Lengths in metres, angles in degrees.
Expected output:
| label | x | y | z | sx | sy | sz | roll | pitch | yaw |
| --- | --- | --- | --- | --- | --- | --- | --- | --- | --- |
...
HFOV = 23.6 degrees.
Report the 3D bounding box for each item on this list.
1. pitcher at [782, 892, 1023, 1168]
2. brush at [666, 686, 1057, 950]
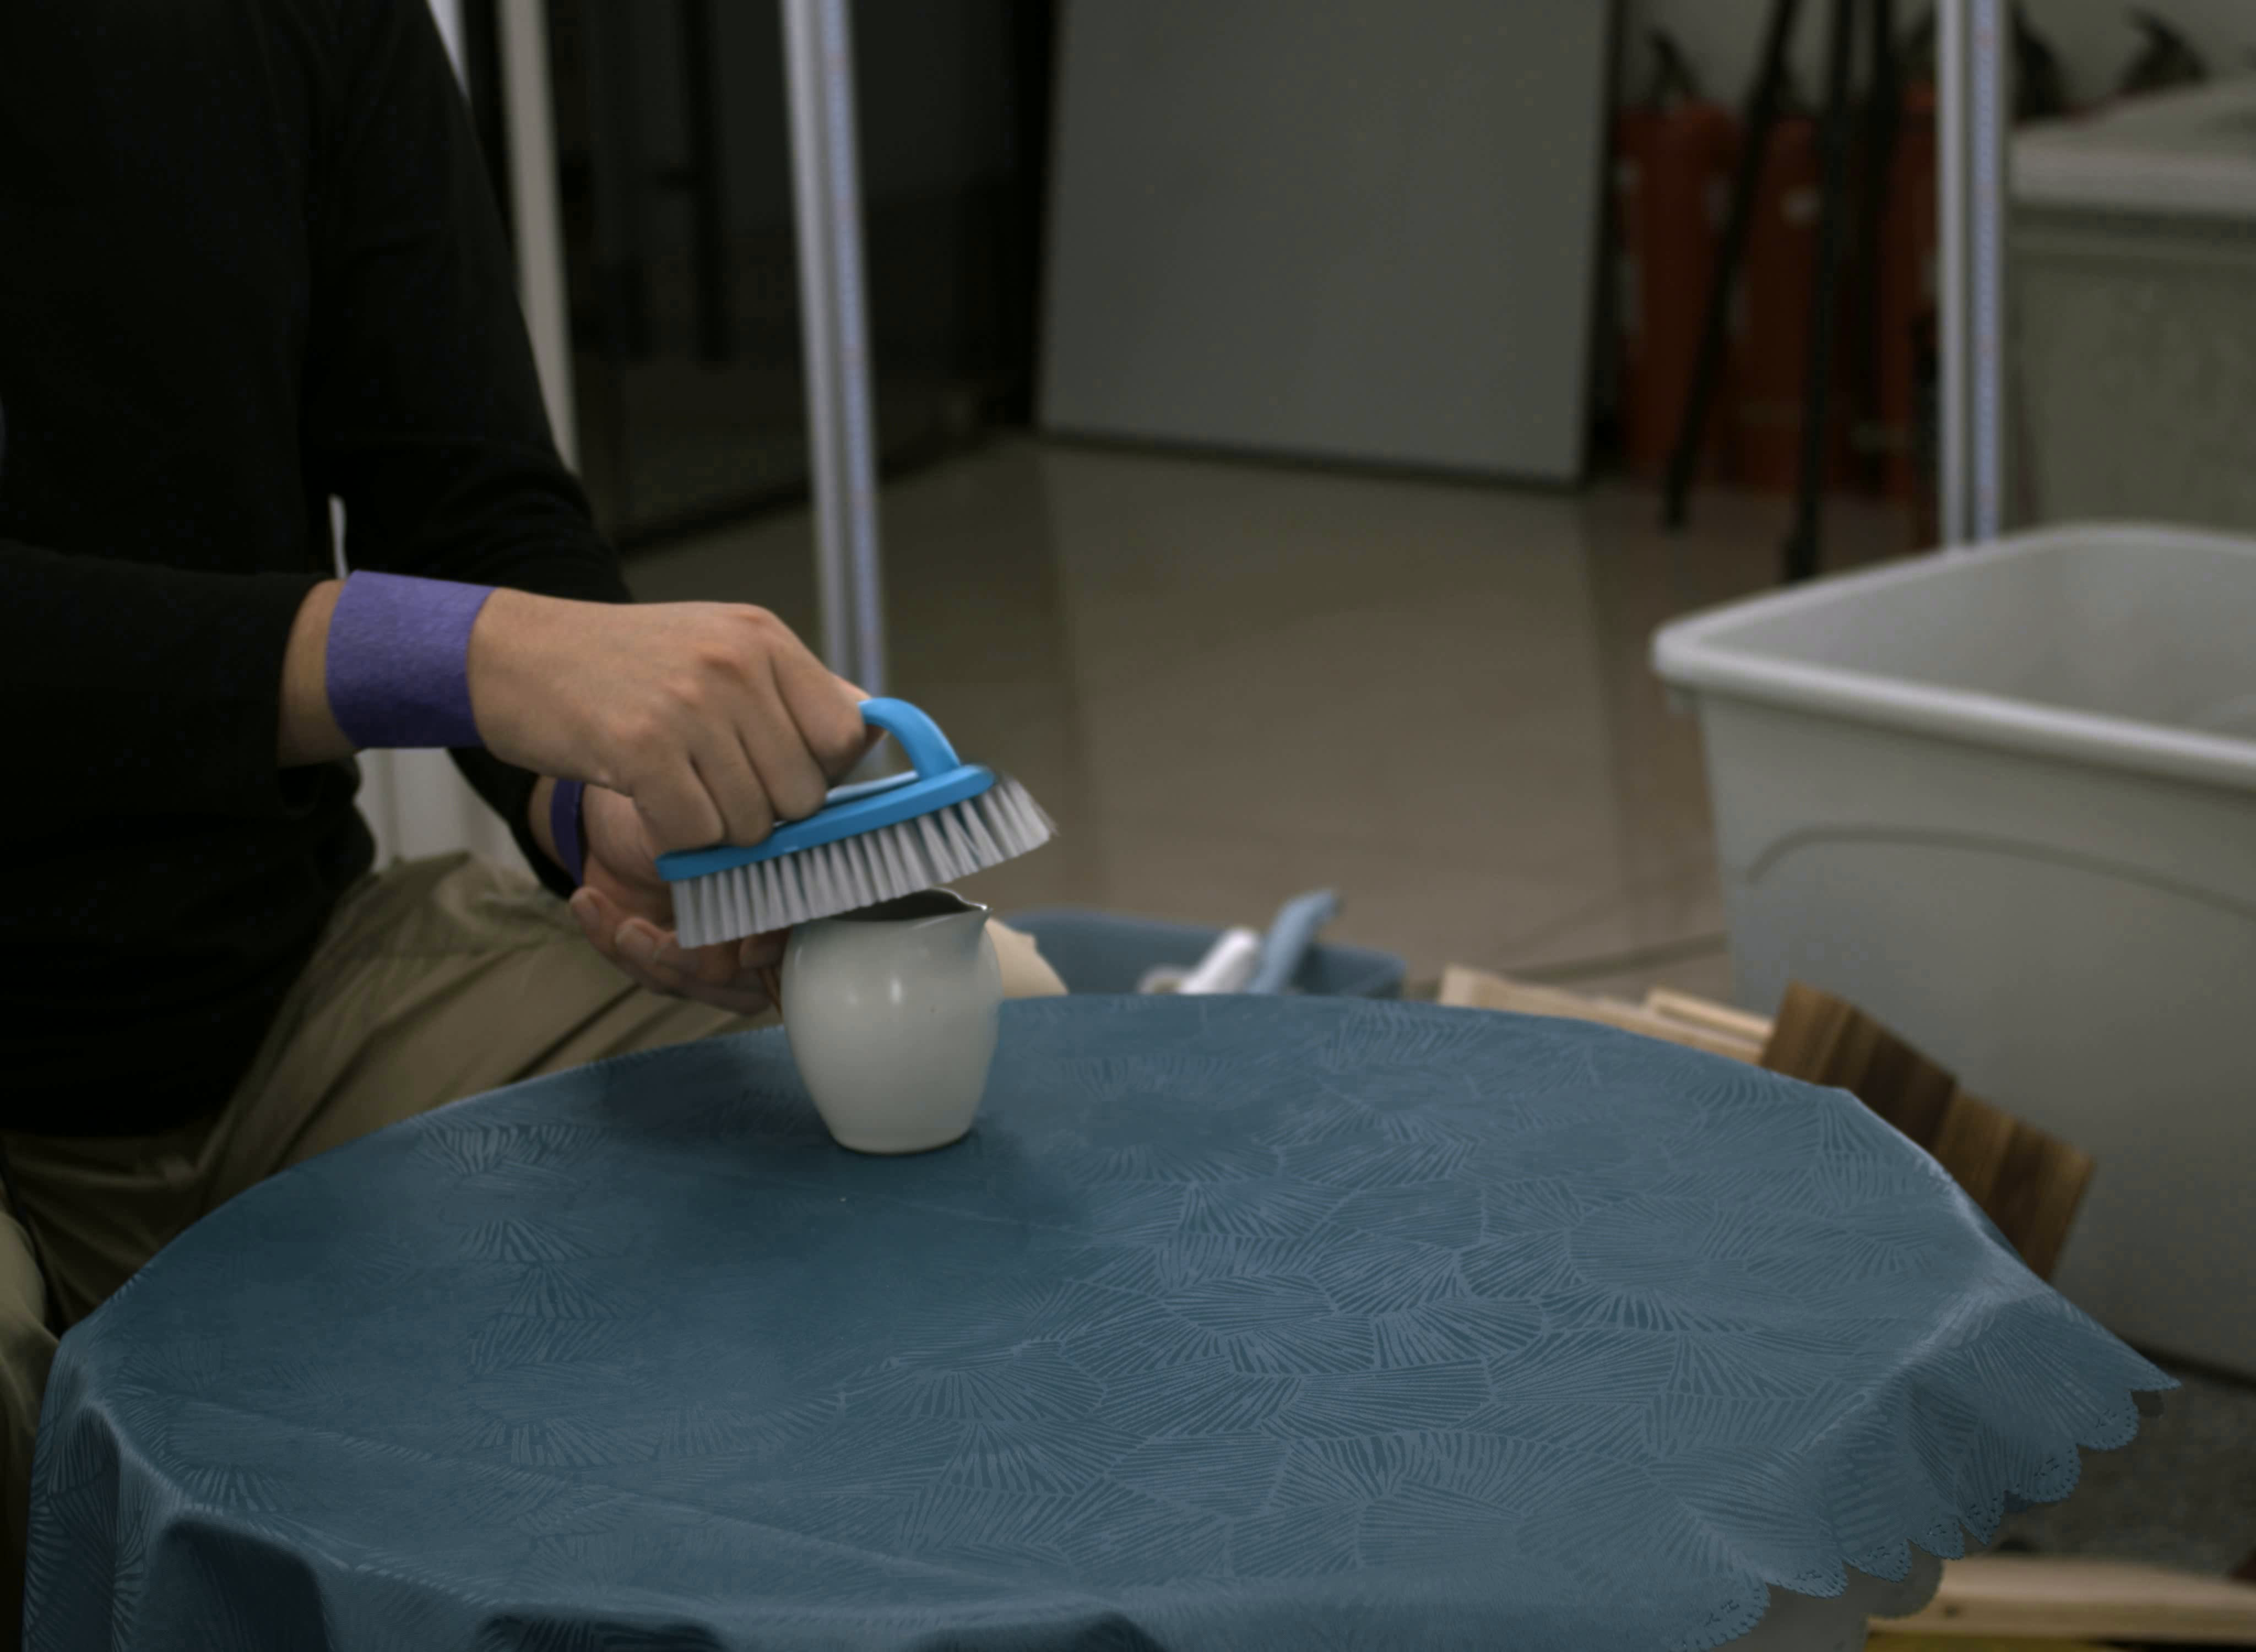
| label | x | y | z | sx | sy | sz | roll | pitch | yaw |
| --- | --- | --- | --- | --- | --- | --- | --- | --- | --- |
| pitcher | -0.079 | 0.066 | 1.833 | 0.074 | 0.089 | 0.120 | -8 | 16 | -42 |
| brush | -0.096 | -0.008 | 1.811 | 0.142 | 0.064 | 0.083 | -16 | 10 | 31 |
